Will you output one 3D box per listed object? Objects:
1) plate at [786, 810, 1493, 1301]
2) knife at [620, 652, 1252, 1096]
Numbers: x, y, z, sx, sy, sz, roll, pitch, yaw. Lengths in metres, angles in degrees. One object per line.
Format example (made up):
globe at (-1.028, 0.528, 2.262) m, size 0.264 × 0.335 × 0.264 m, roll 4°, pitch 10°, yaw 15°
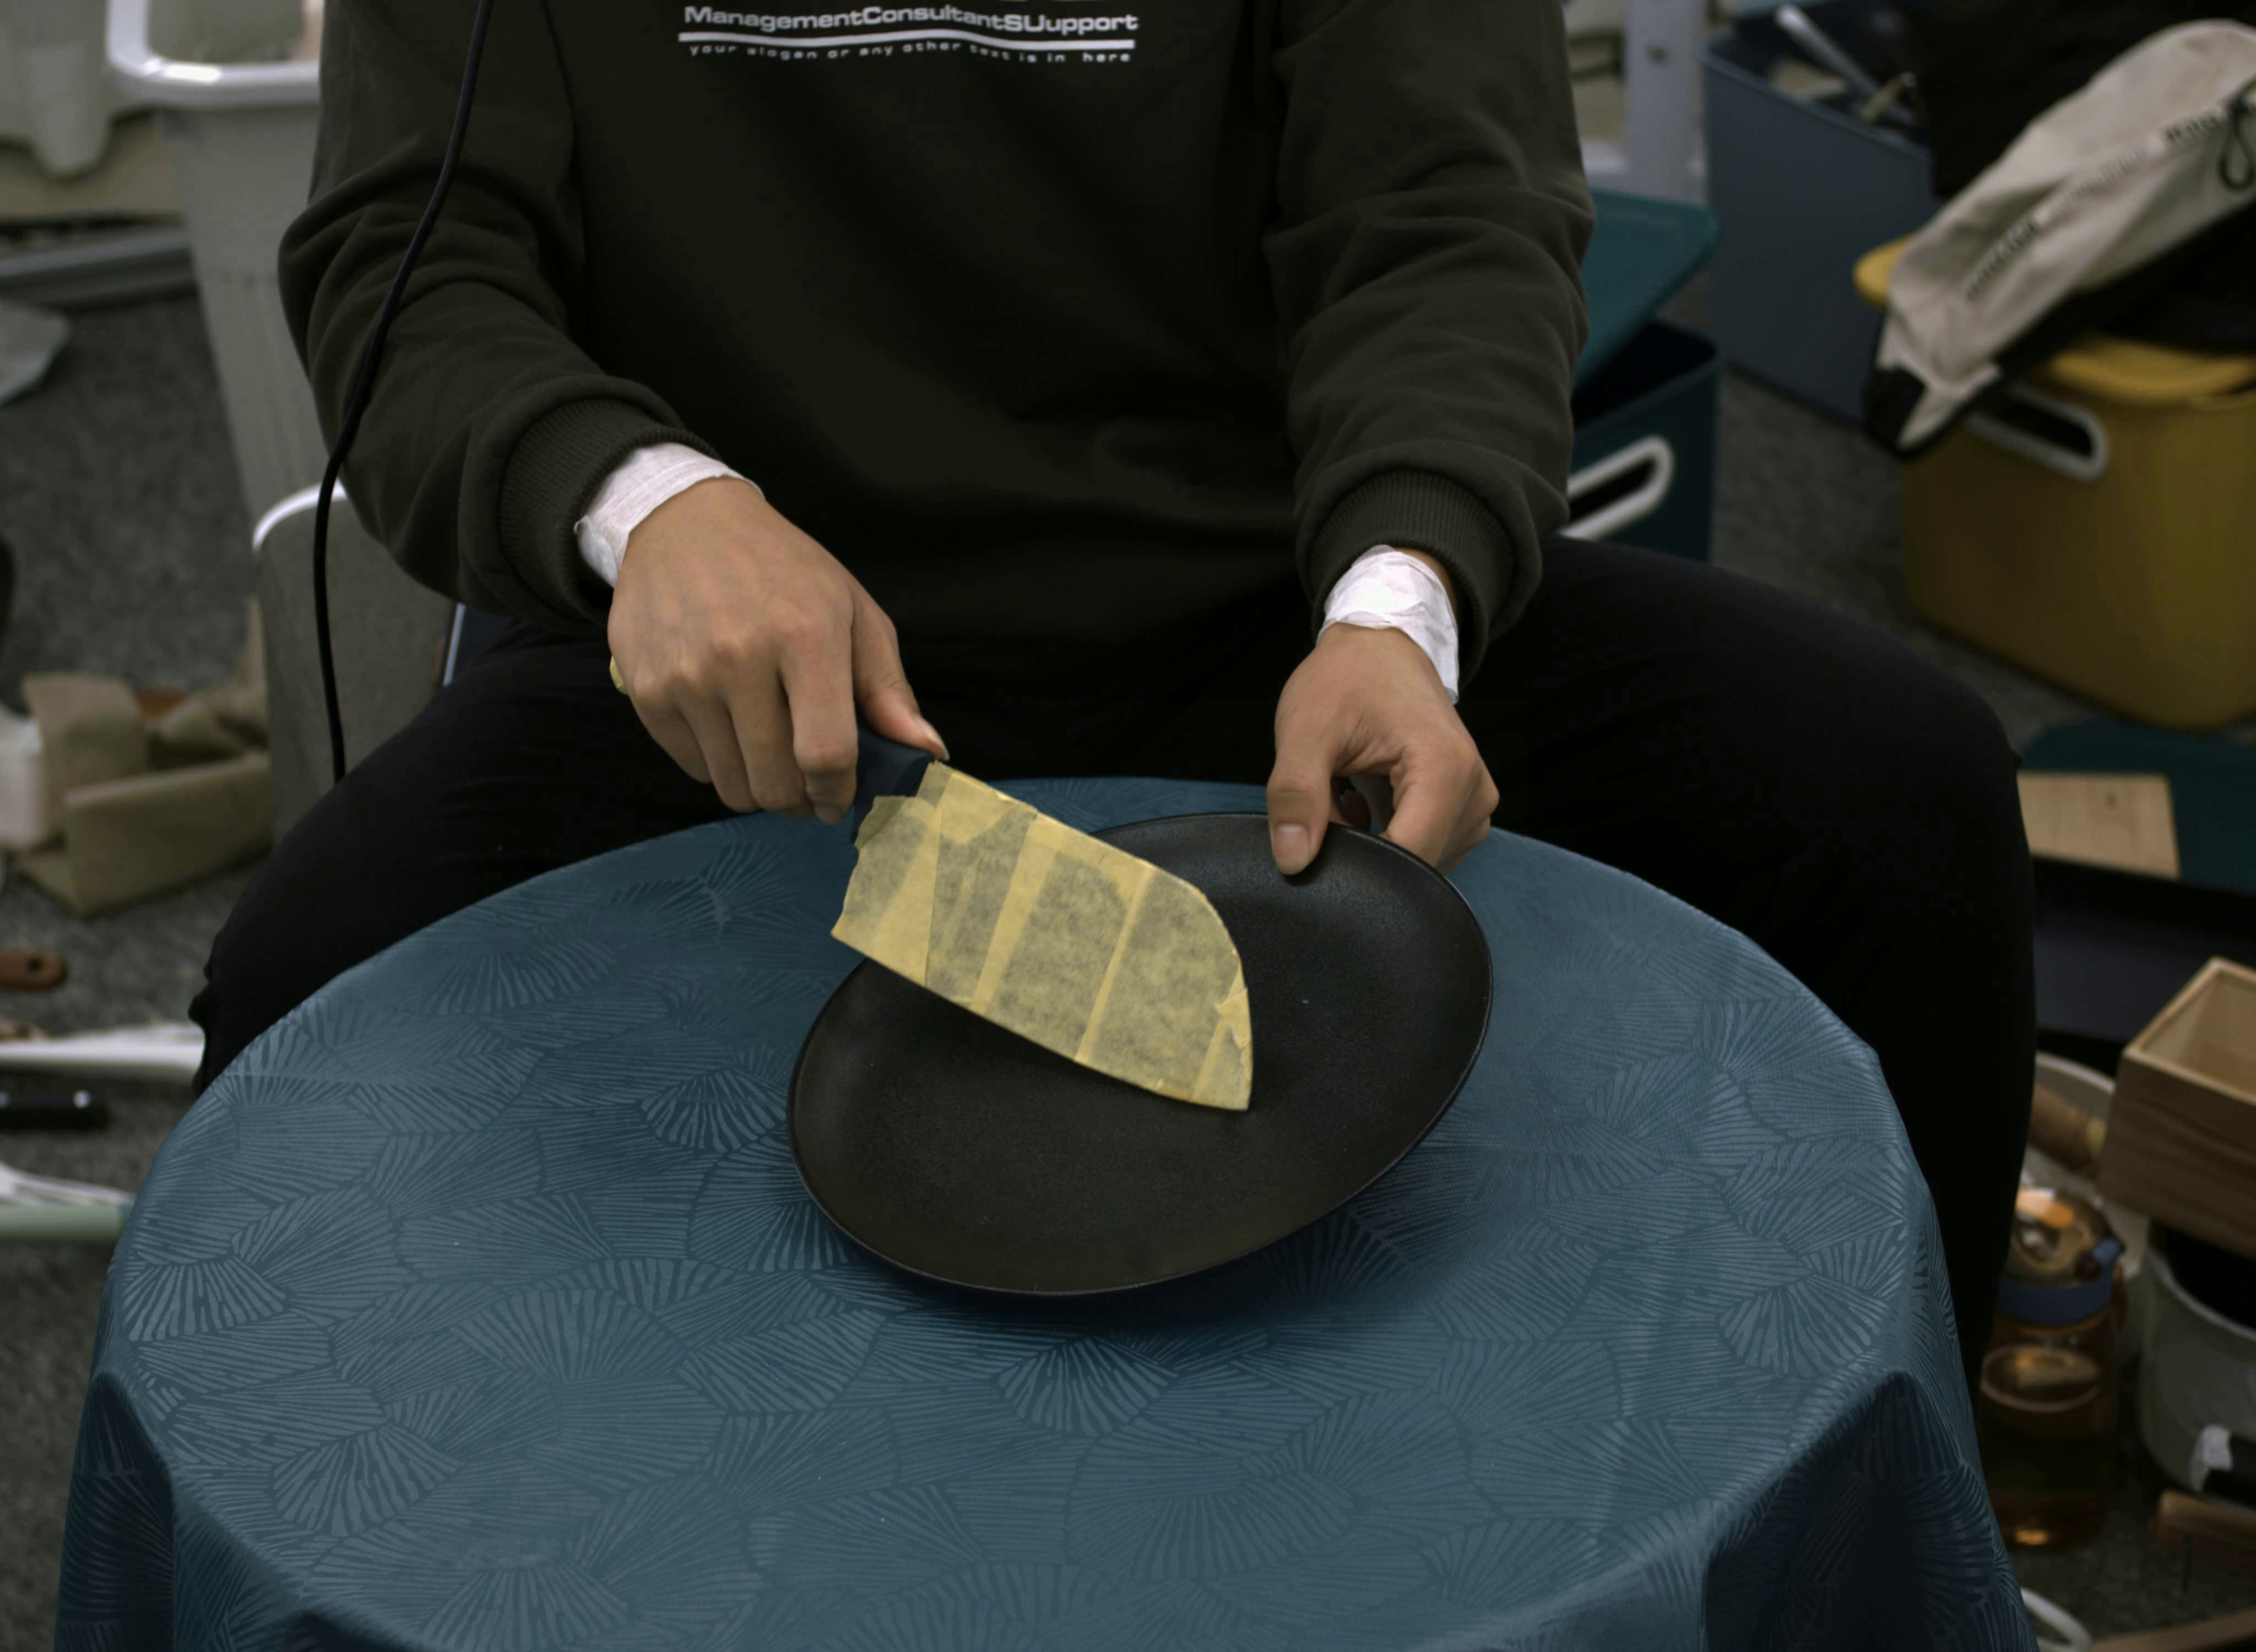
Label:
plate at (0.005, 0.079, 1.872) m, size 0.243 × 0.023 × 0.249 m, roll -10°, pitch 36°, yaw 8°
knife at (-0.069, 0.014, 1.911) m, size 0.289 × 0.081 × 0.027 m, roll 29°, pitch 9°, yaw 30°
